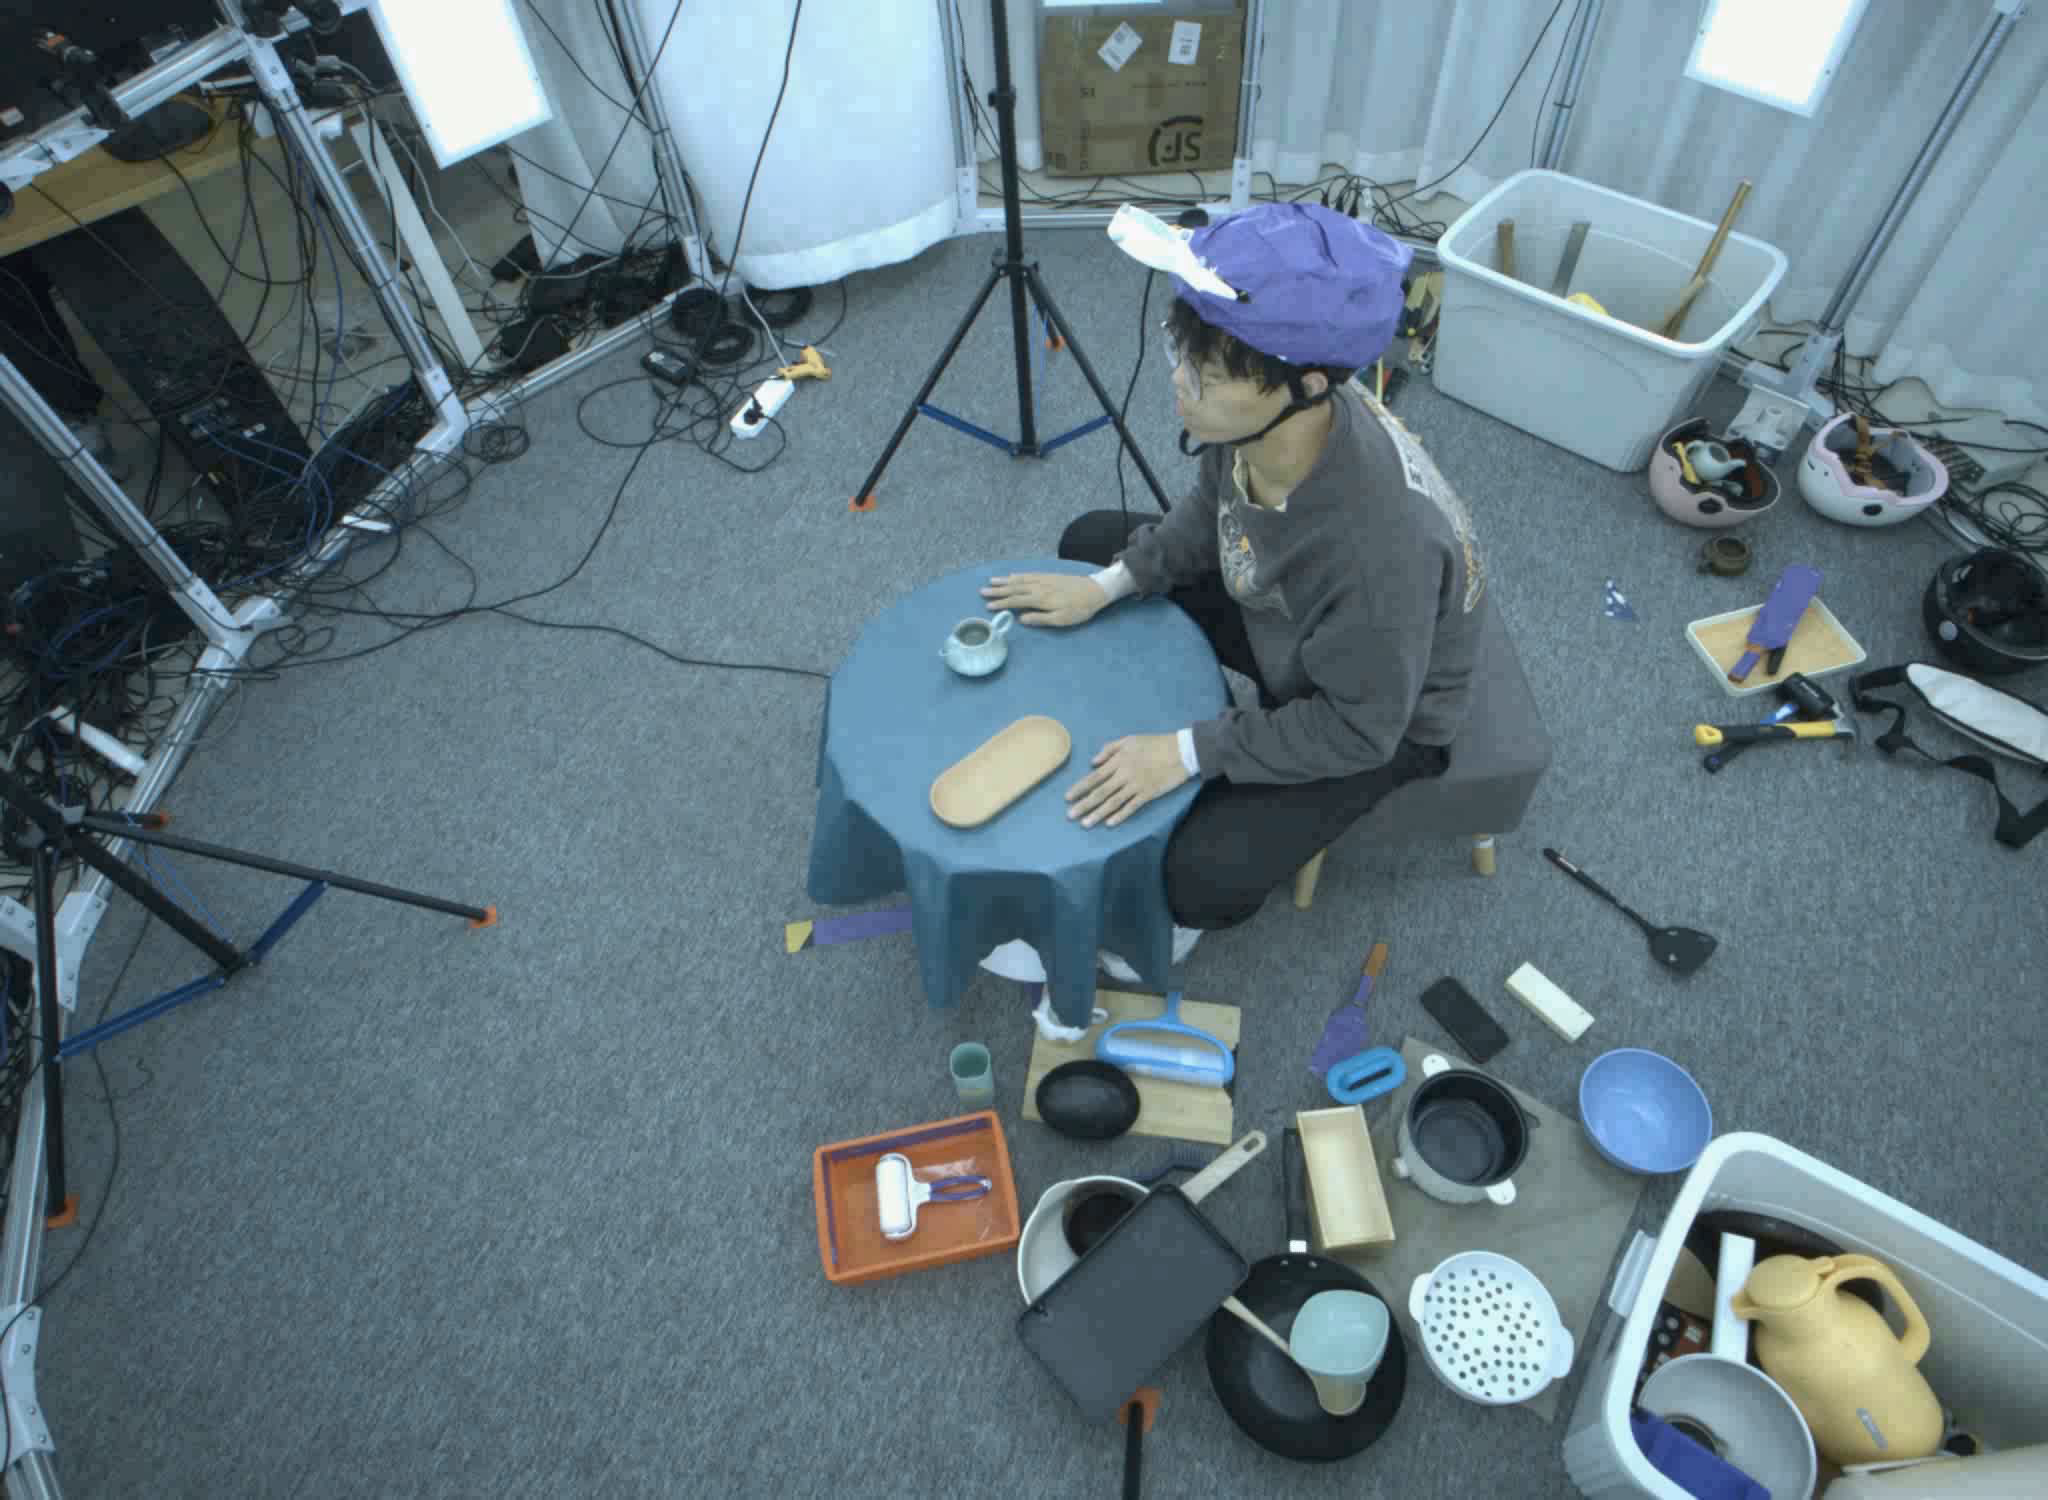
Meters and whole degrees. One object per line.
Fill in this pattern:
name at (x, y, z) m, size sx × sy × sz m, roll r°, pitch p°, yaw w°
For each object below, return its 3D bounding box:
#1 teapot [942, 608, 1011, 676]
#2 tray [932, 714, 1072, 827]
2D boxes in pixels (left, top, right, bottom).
teapot at (-0.070, -0.163, 1.868) m, size 0.138 × 0.062 × 0.094 m, roll -38°, pitch 59°, yaw -22°
tray at (-0.030, 0.029, 1.755) m, size 0.233 × 0.020 × 0.100 m, roll -36°, pitch 61°, yaw -23°
